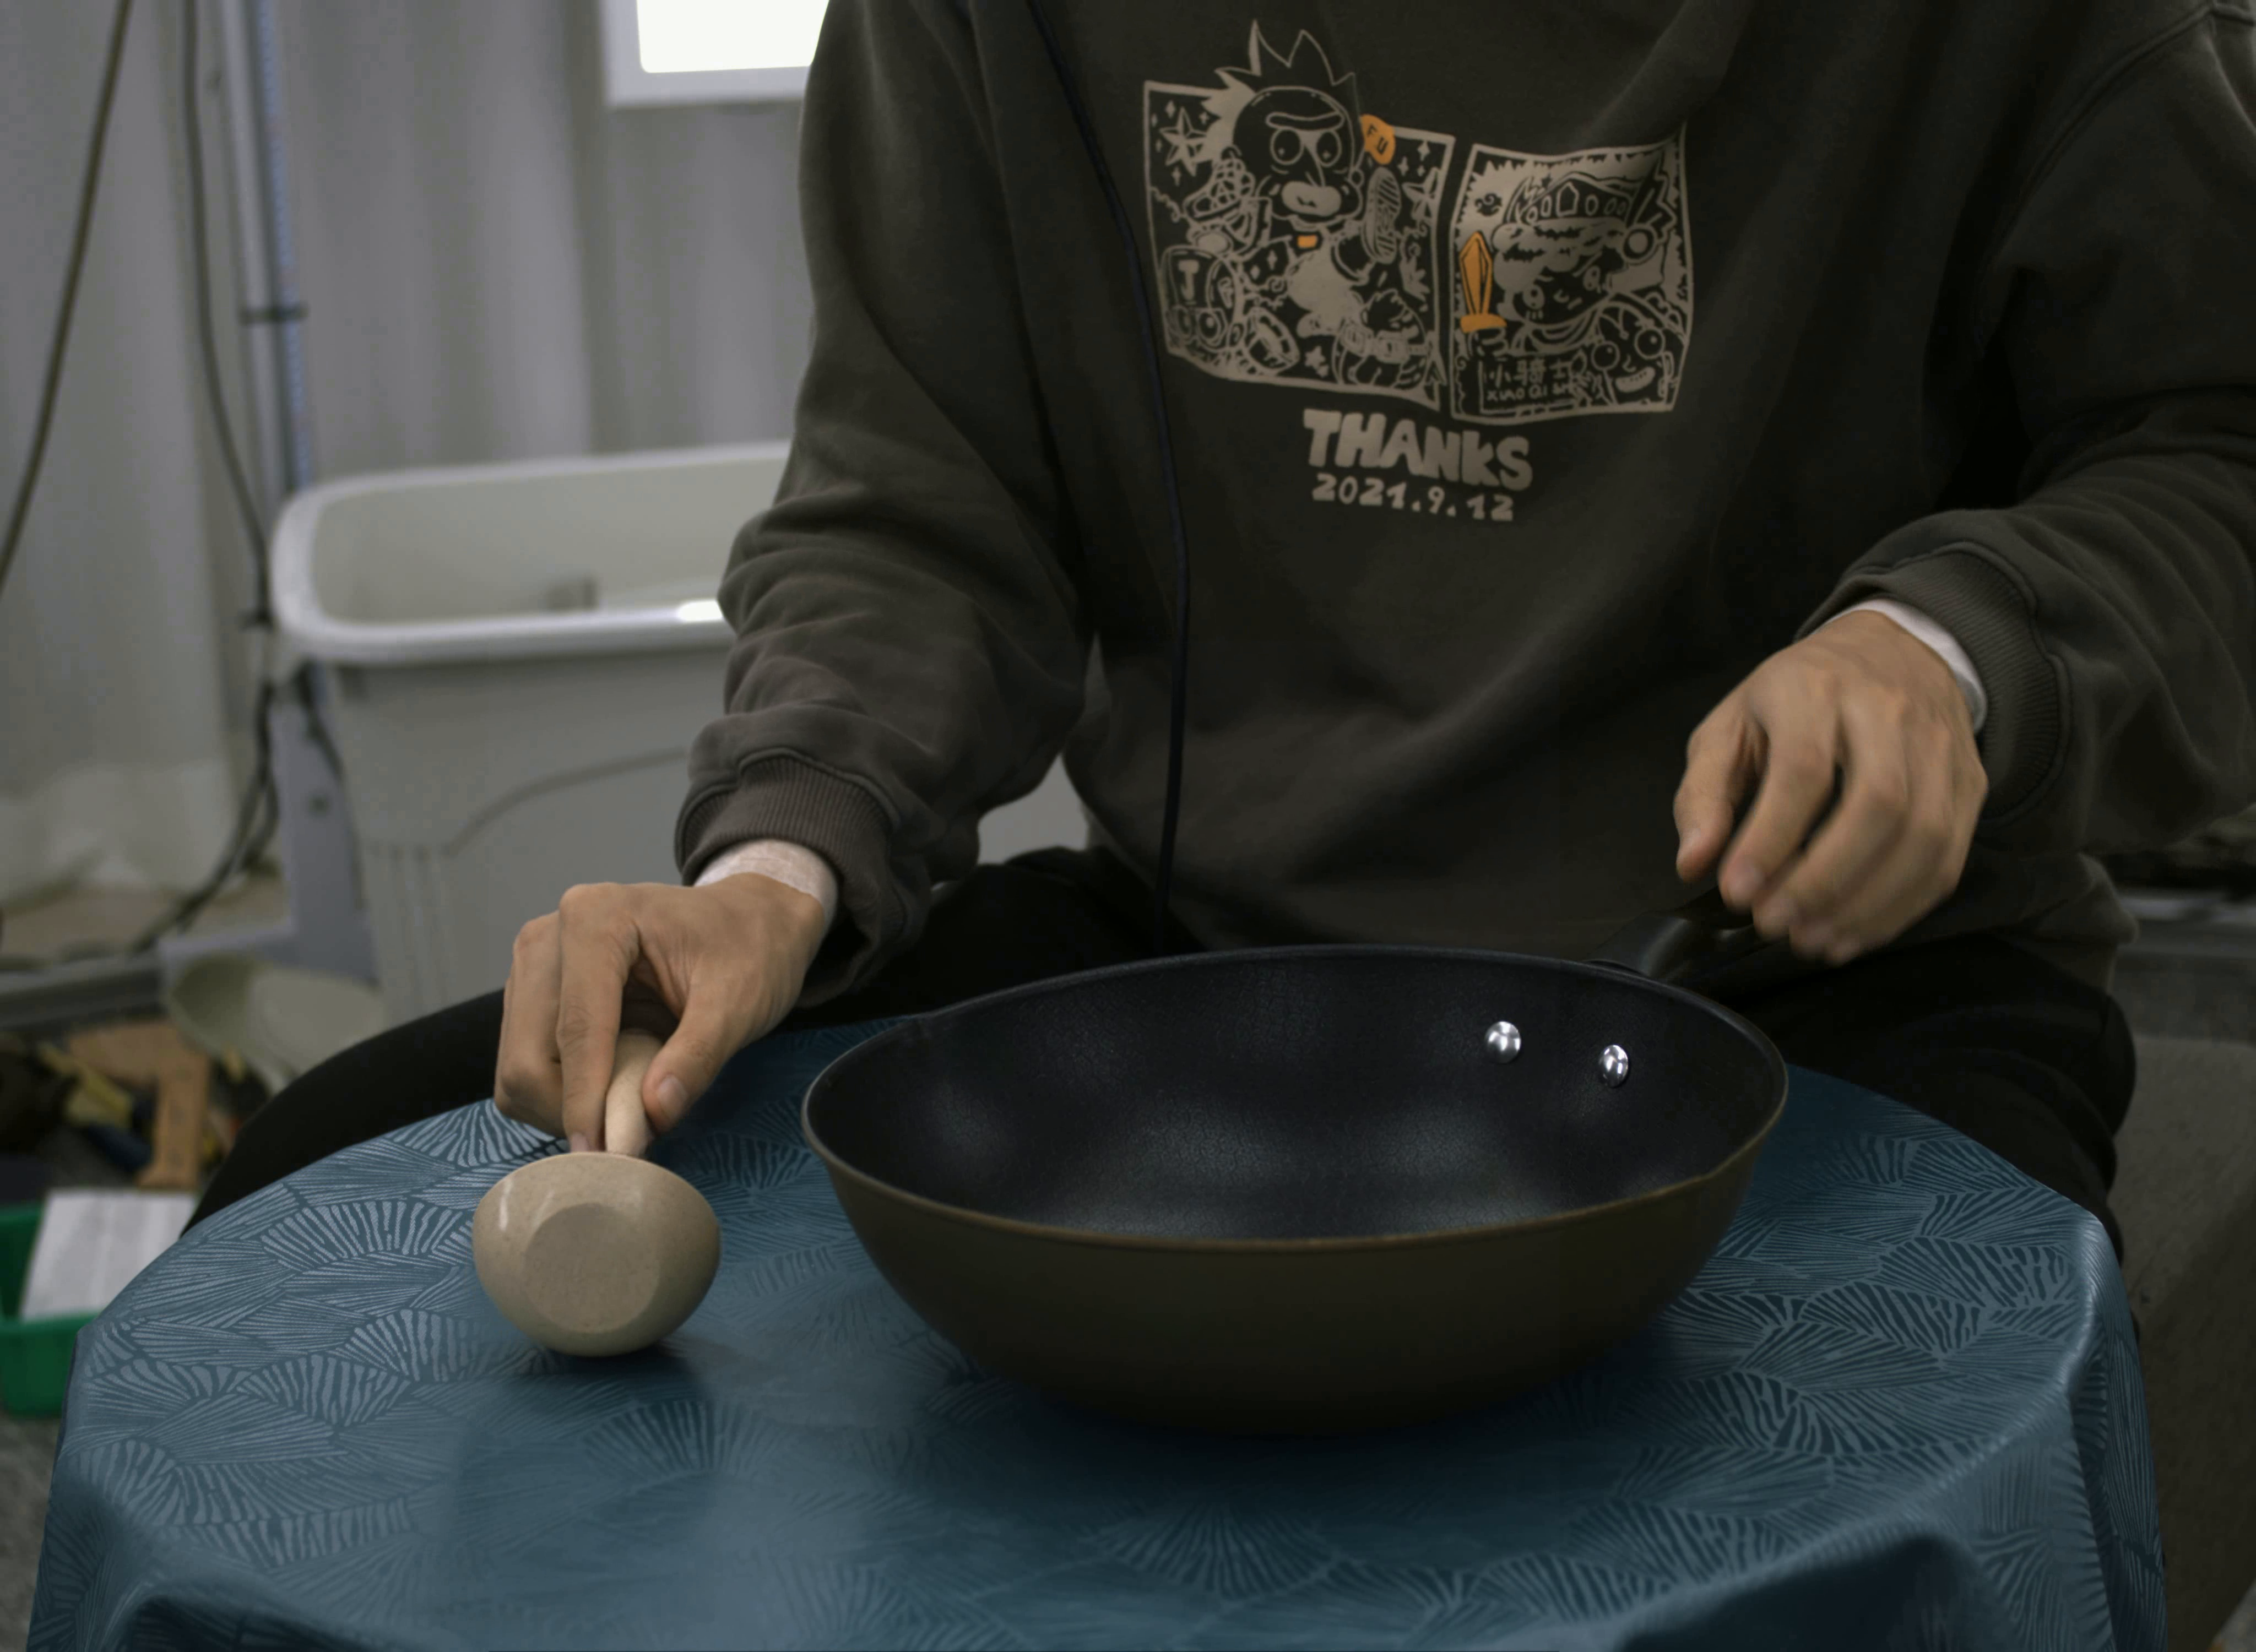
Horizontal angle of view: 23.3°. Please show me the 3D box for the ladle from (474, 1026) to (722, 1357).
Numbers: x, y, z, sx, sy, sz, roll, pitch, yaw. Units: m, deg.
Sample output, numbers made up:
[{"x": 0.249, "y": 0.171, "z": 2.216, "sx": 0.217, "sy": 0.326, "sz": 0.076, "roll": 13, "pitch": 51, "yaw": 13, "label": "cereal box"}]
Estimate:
[{"x": -0.161, "y": 0.084, "z": 1.686, "sx": 0.072, "sy": 0.072, "sz": 0.257, "roll": -4, "pitch": 22, "yaw": -3, "label": "ladle"}]

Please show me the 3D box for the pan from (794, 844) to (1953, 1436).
[{"x": 0.105, "y": 0.090, "z": 1.635, "sx": 0.289, "sy": 0.086, "sz": 0.462, "roll": 10, "pitch": 19, "yaw": 40, "label": "pan"}]
